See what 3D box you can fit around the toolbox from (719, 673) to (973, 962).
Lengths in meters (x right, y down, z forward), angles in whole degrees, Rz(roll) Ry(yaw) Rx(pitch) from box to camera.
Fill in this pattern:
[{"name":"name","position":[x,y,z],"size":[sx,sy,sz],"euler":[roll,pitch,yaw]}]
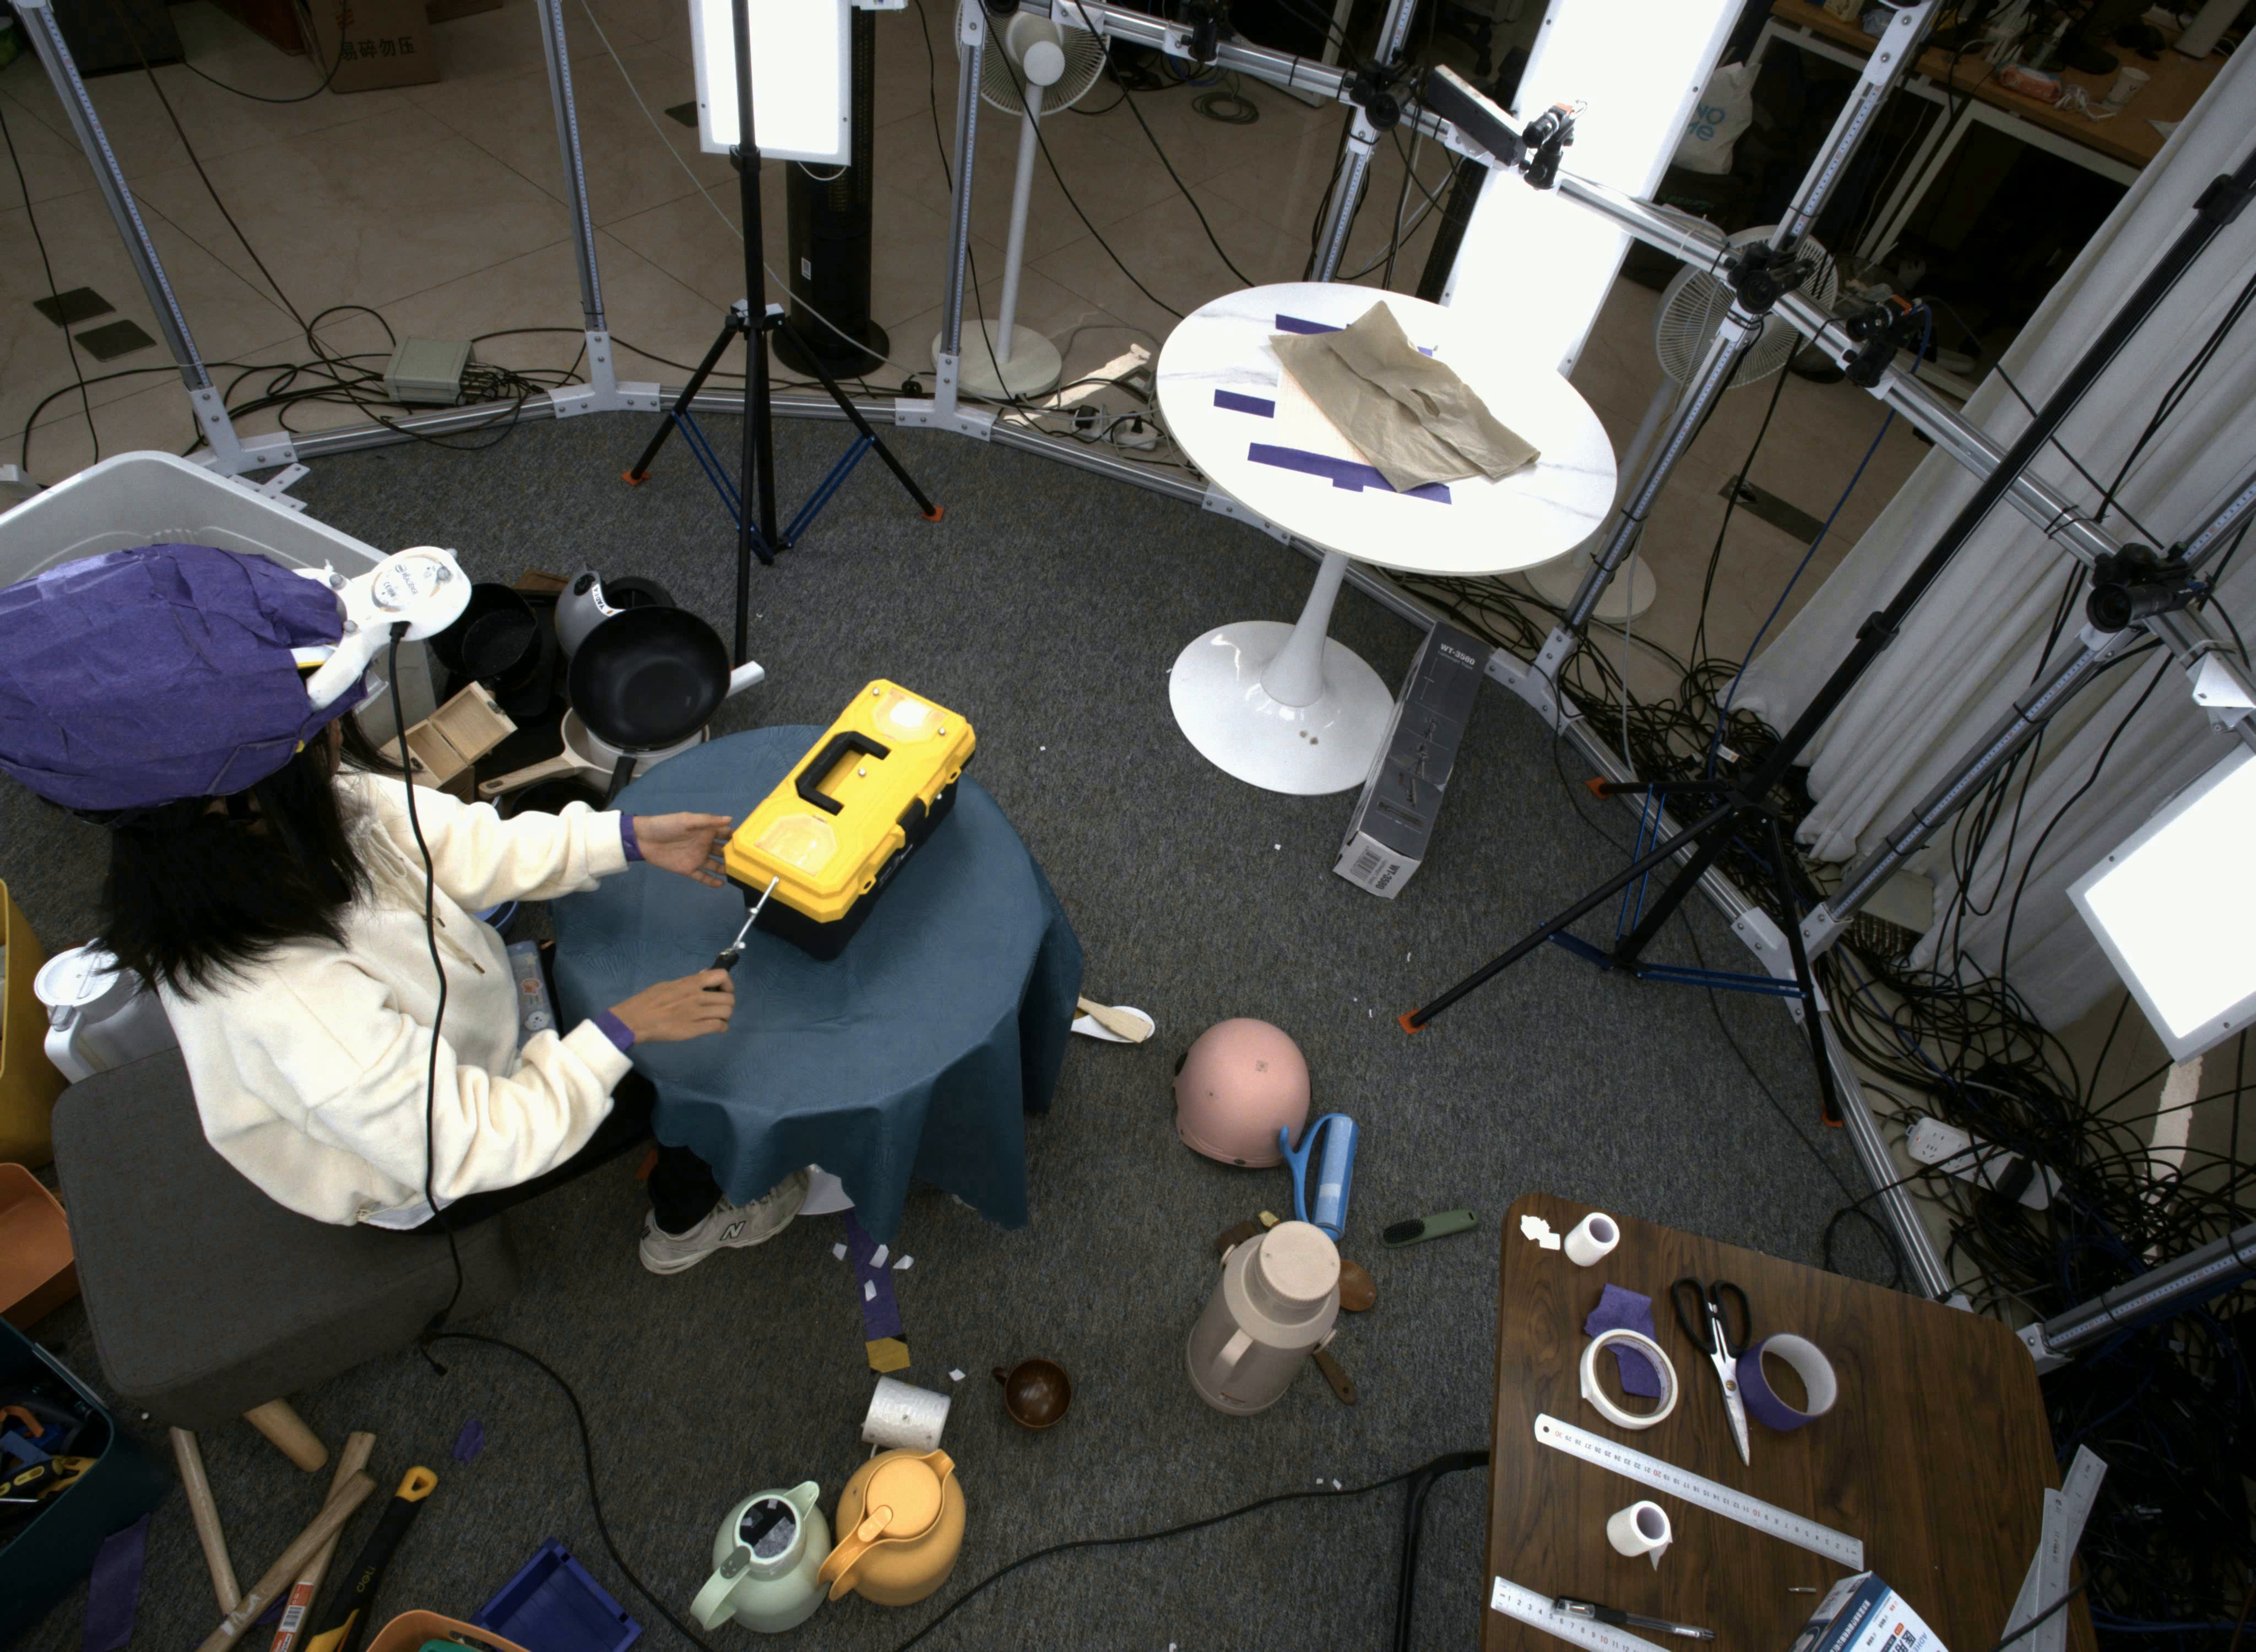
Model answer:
[{"name":"toolbox","position":[-0.347,-0.012,1.636],"size":[0.178,0.176,0.349],"euler":[26,52,8]}]

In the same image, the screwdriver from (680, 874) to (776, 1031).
[{"name":"screwdriver","position":[-0.445,0.137,1.448],"size":[0.031,0.032,0.196],"euler":[25,75,7]}]
